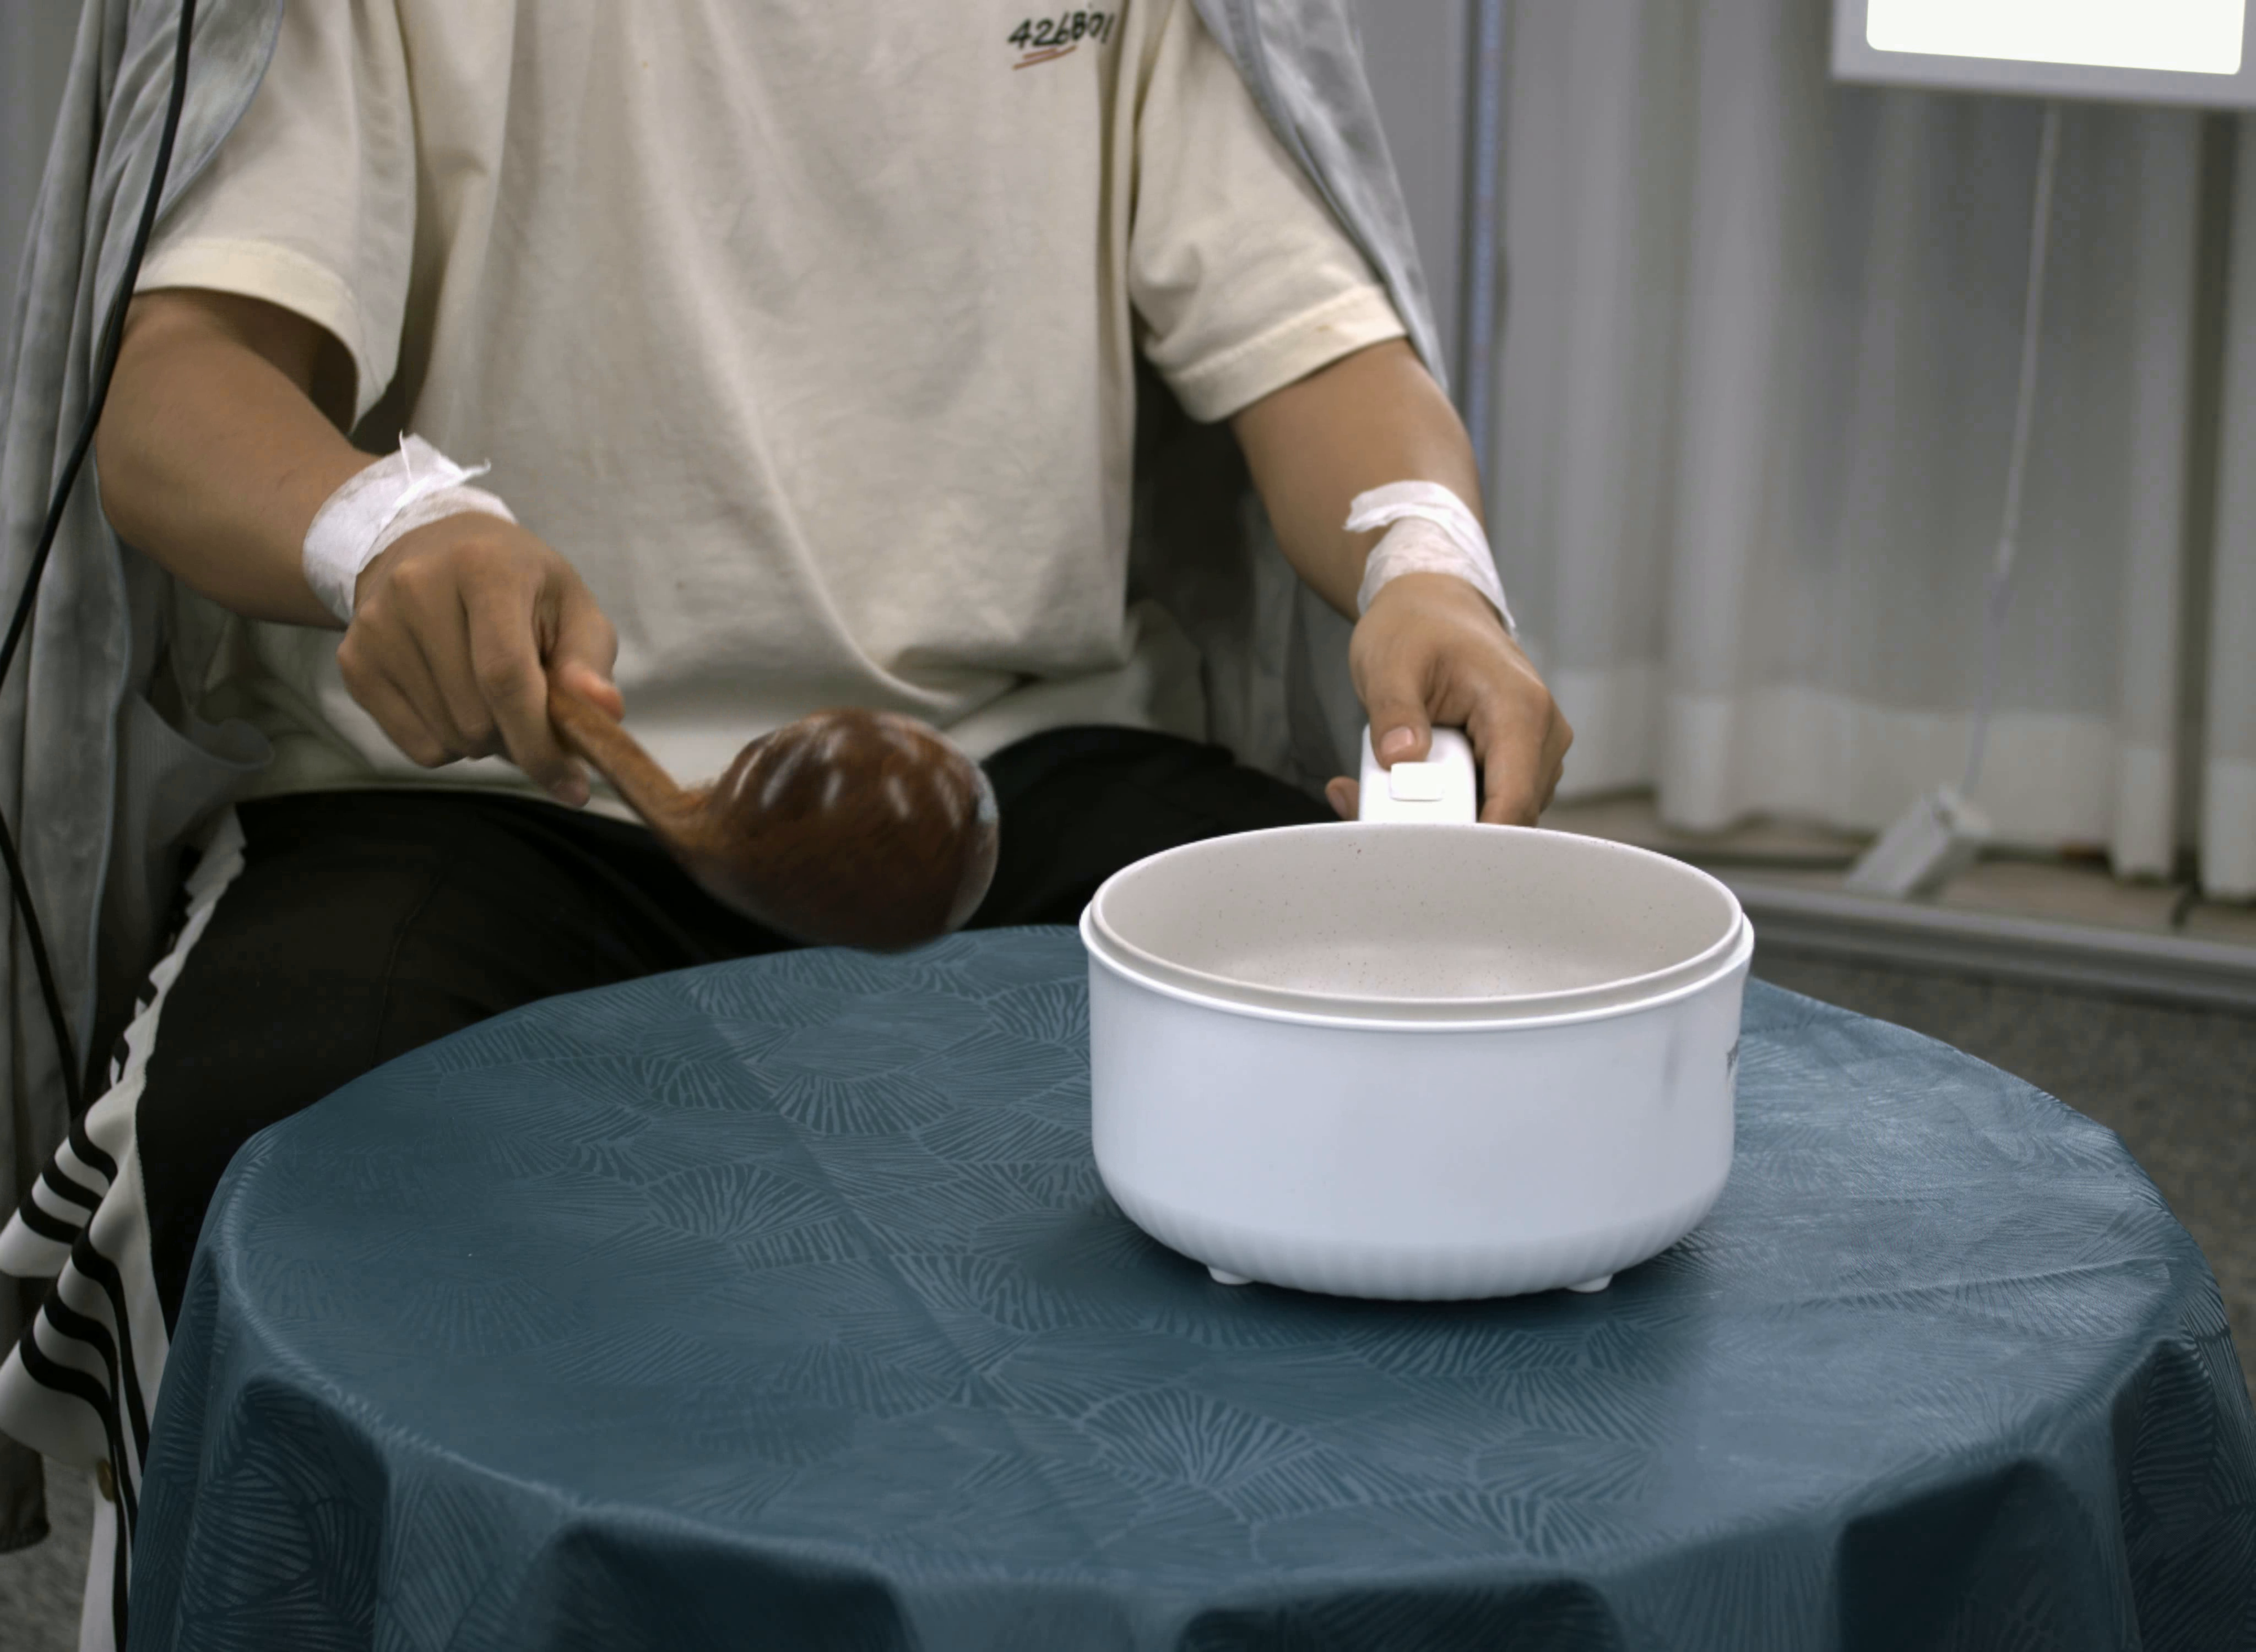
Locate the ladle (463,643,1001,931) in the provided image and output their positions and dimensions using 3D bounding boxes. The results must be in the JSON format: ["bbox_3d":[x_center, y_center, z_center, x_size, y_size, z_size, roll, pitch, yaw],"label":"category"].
[{"bbox_3d":[-0.123,-0.033,1.576,0.076,0.083,0.270,-28,26,-17],"label":"ladle"}]

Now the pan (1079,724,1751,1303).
[{"bbox_3d":[0.090,0.054,1.659,0.200,0.103,0.353,0,14,3],"label":"pan"}]
